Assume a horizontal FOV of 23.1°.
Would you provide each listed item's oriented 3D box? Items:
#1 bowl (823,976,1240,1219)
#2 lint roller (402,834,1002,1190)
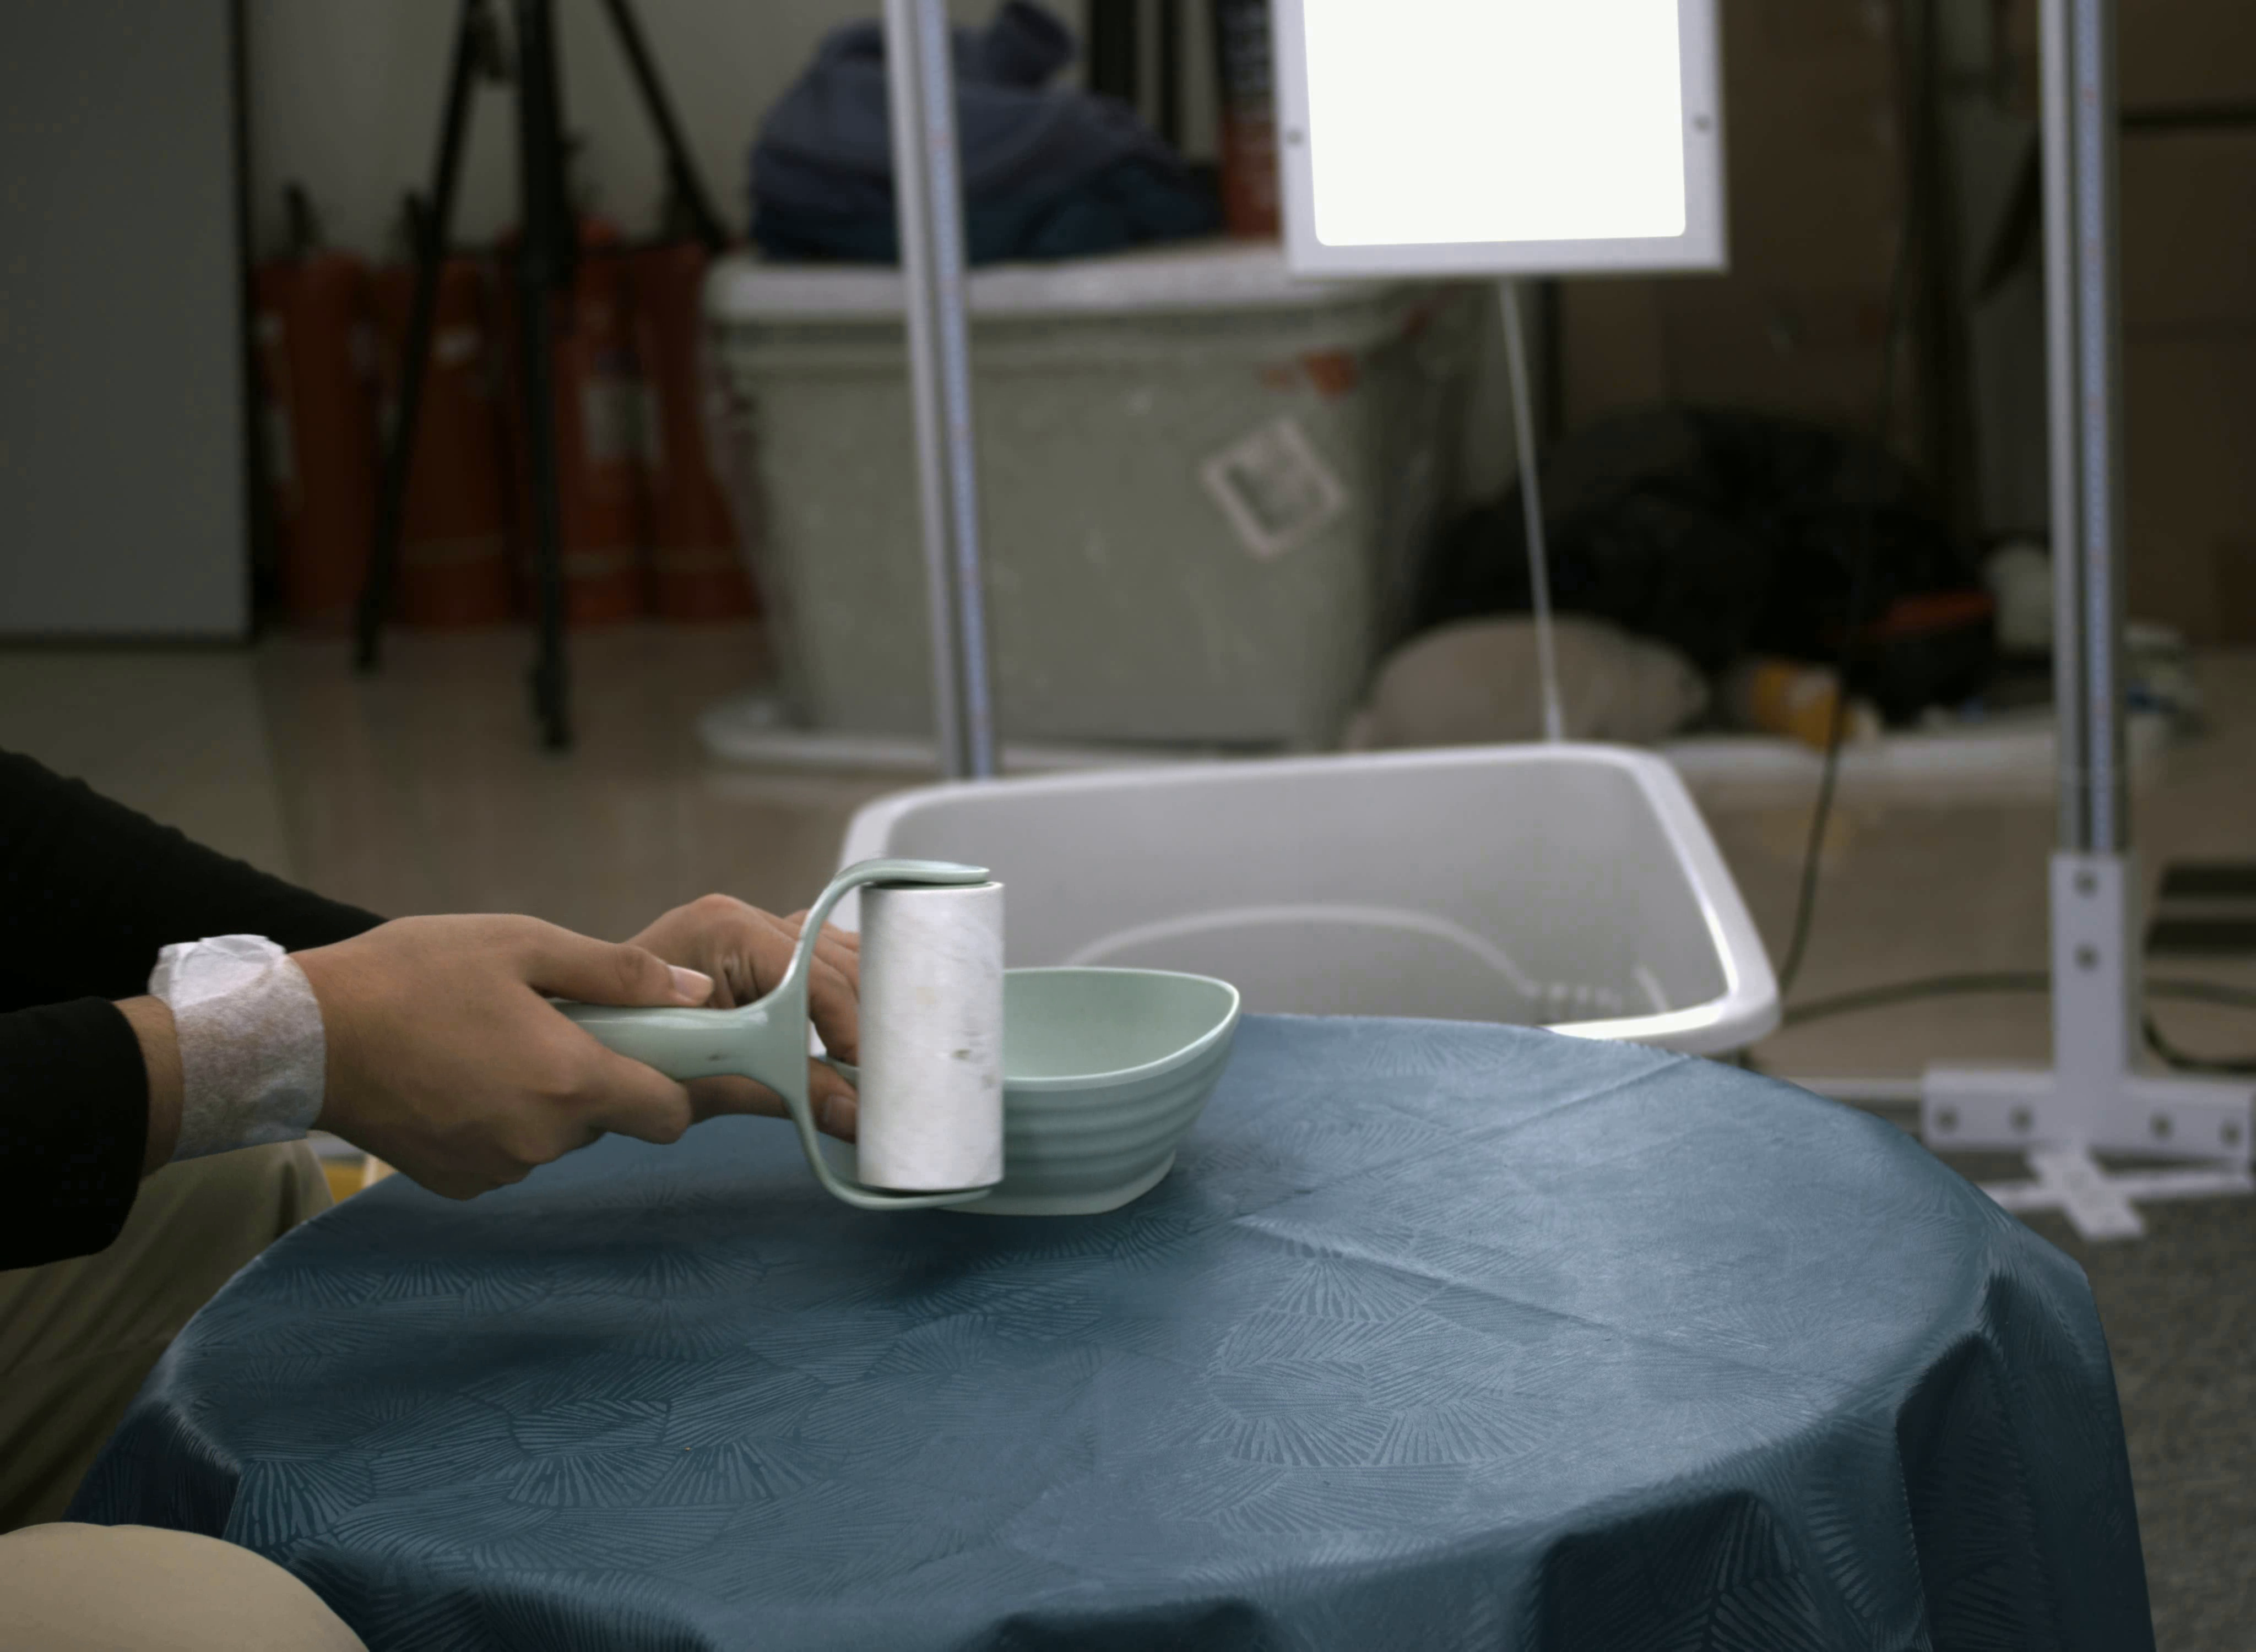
[{"bbox_3d":[-0.031,0.097,1.914,0.151,0.059,0.151,-4,12,-1],"label":"bowl"},{"bbox_3d":[-0.138,0.062,1.810,0.195,0.117,0.049,-1,5,-12],"label":"lint roller"}]
